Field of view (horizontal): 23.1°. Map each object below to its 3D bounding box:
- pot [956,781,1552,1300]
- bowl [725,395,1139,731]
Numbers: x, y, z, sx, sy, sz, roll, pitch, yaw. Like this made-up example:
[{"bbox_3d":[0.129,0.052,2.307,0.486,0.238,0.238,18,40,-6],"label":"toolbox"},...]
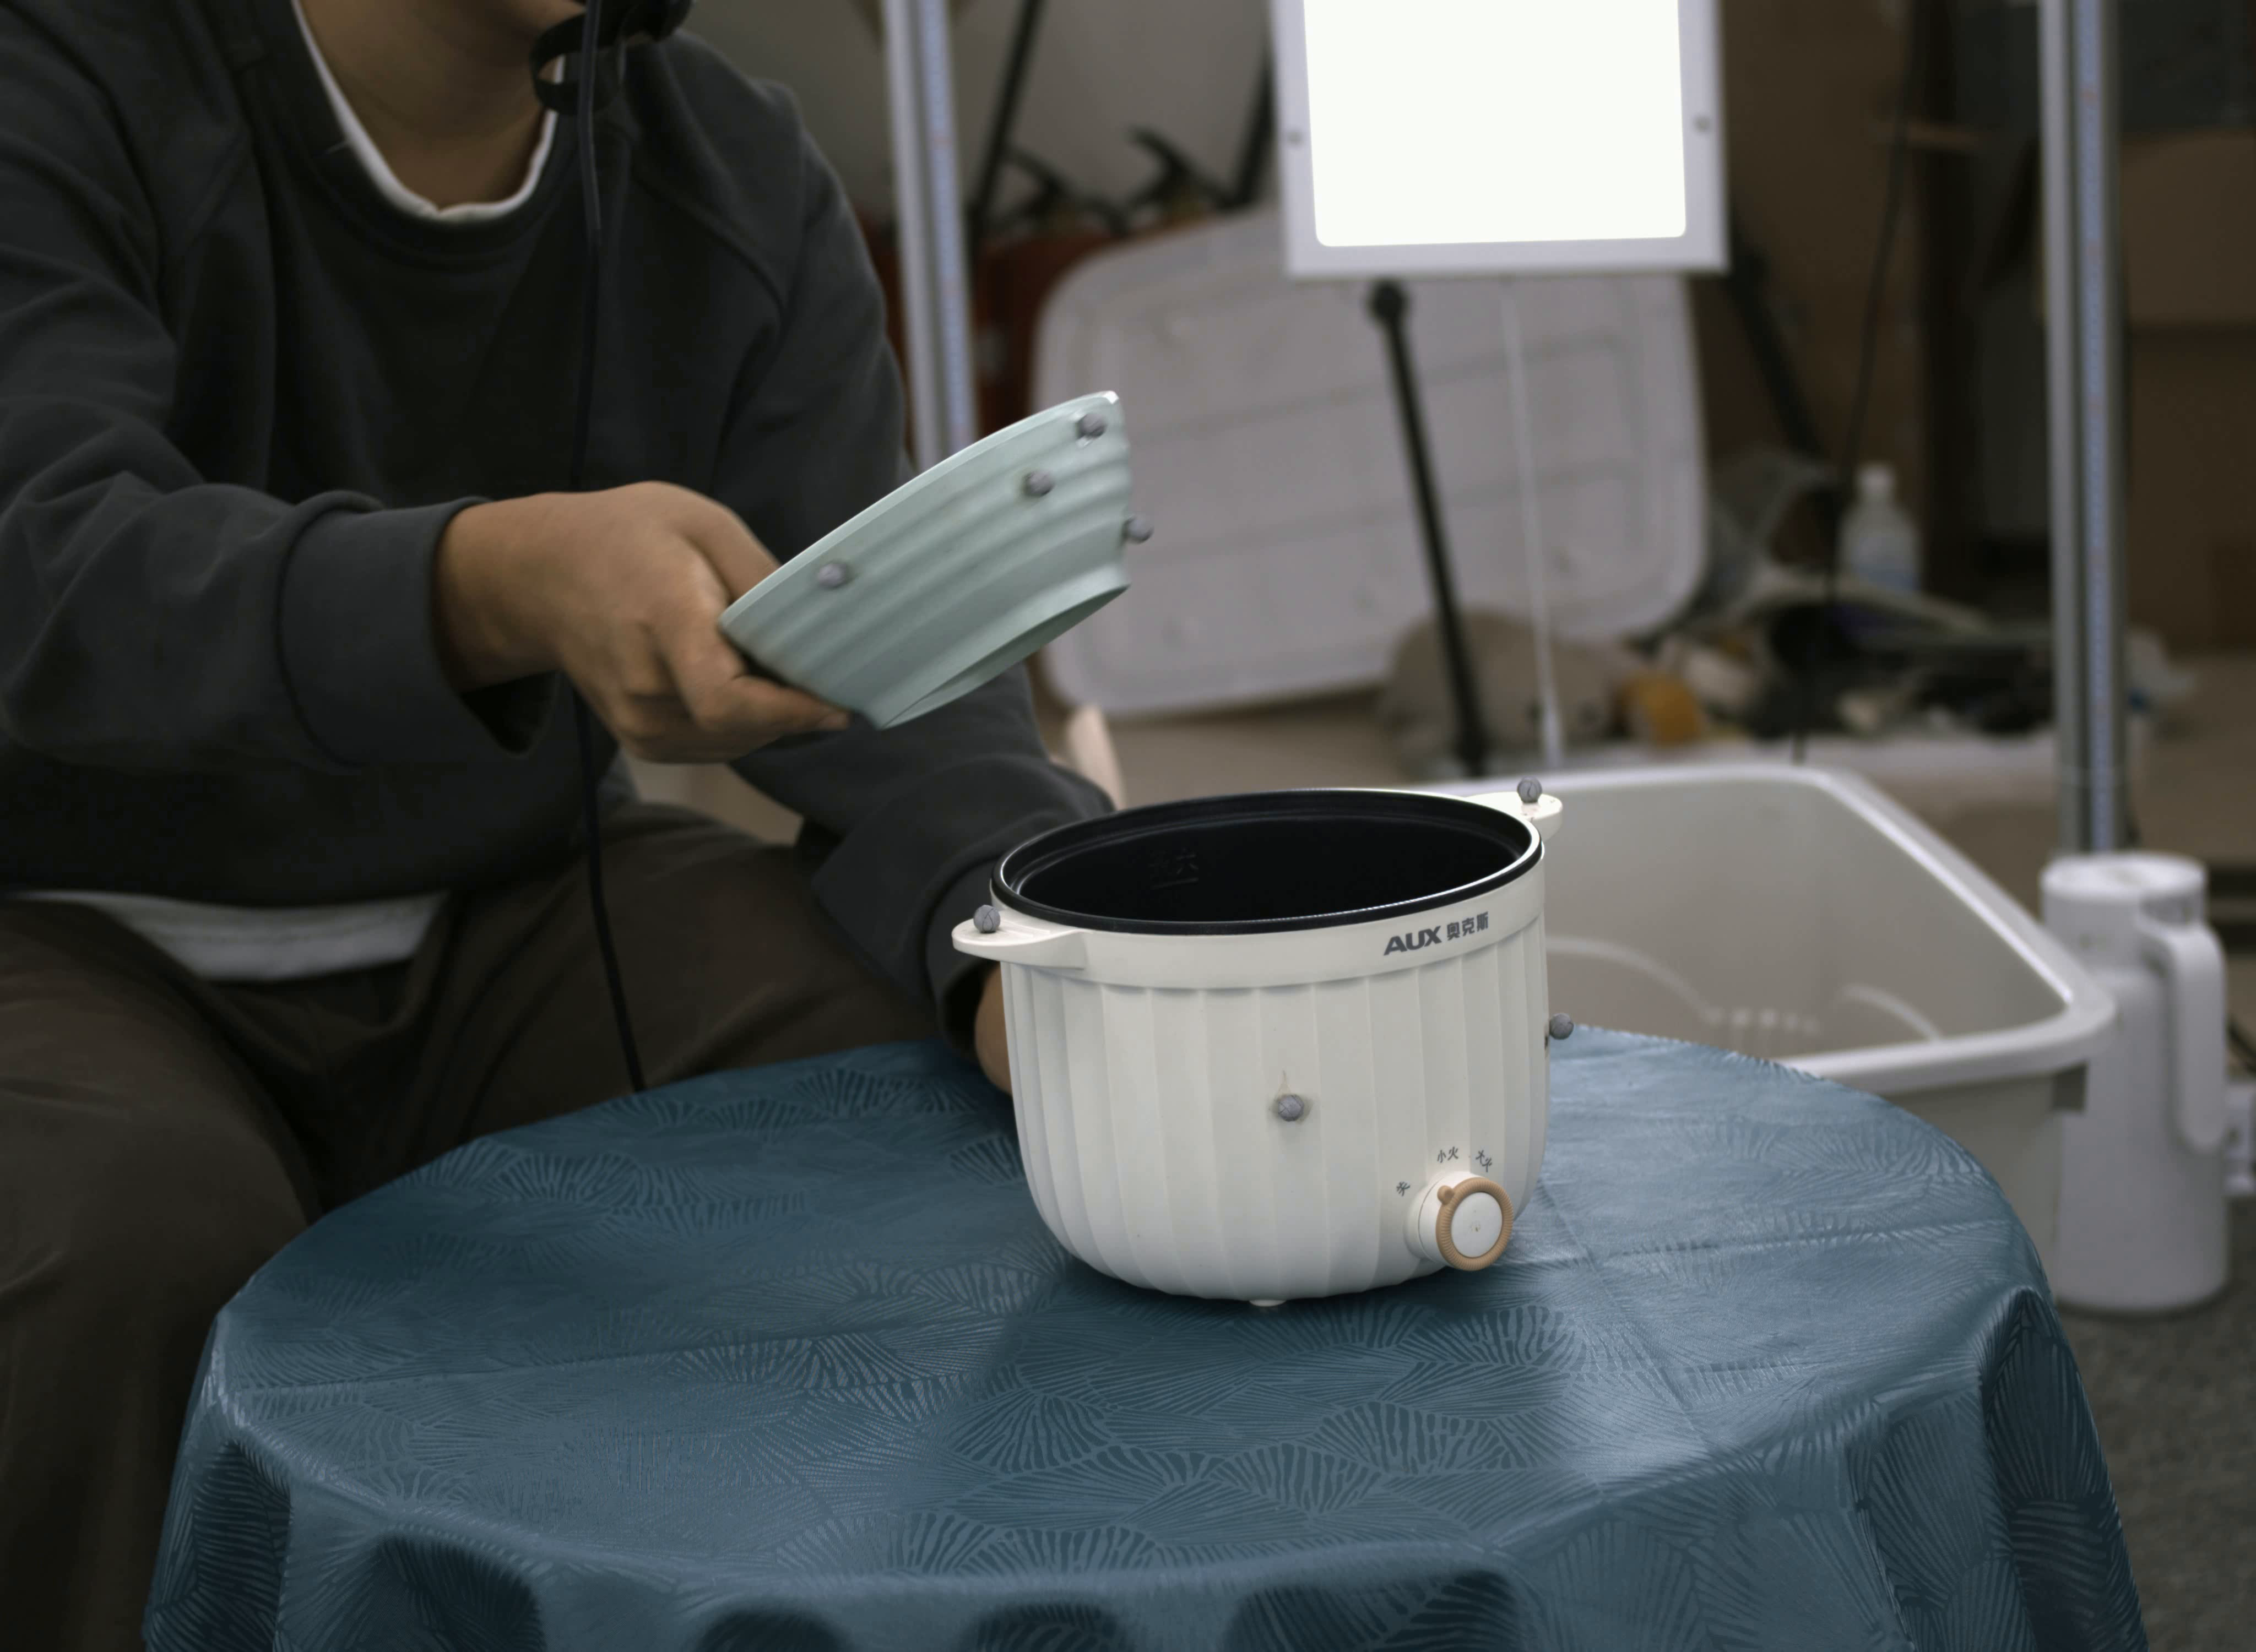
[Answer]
[{"bbox_3d":[0.054,0.072,1.806,0.234,0.143,0.194,-16,14,-33],"label":"pot"},{"bbox_3d":[-0.052,-0.079,1.783,0.151,0.059,0.151,-30,-2,-3],"label":"bowl"}]
